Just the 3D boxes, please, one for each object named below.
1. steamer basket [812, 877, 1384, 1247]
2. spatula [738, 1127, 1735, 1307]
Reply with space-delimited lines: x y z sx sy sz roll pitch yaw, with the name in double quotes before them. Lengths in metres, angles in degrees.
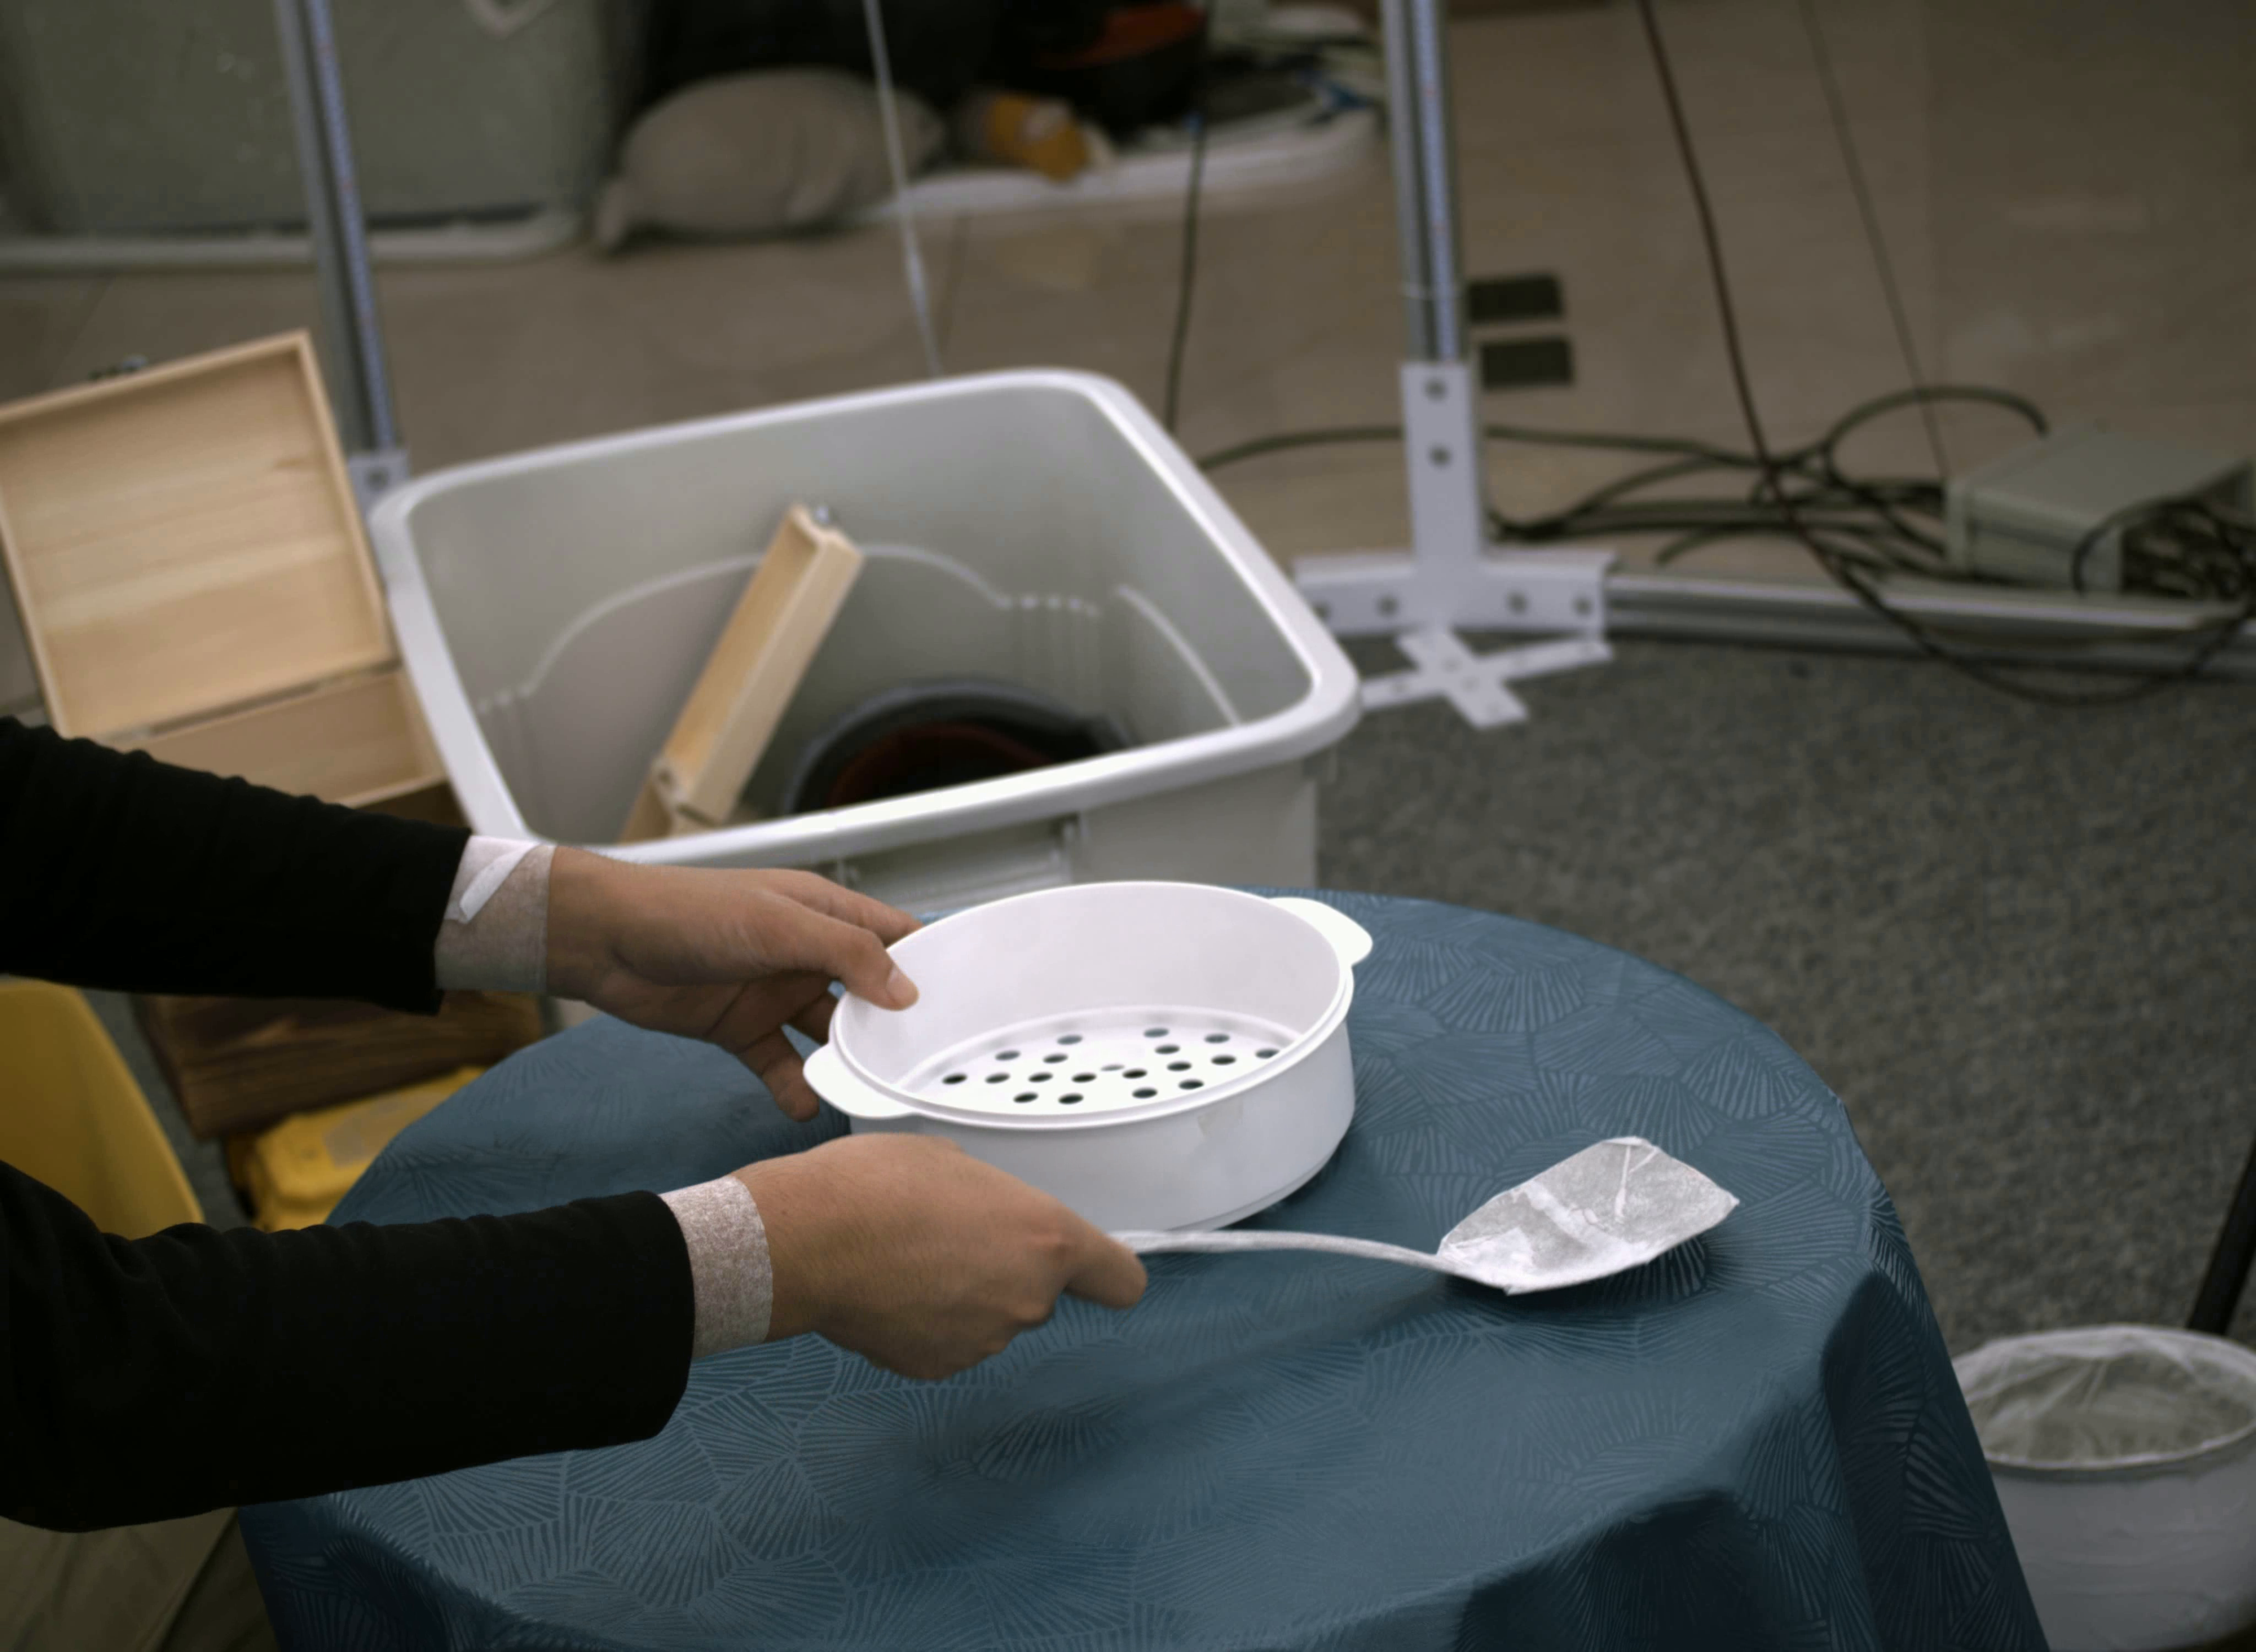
"steamer basket" -0.007 0.091 2.169 0.229 0.070 0.199 -18 27 -22
"spatula" 0.040 0.146 2.019 0.364 0.045 0.097 0 19 -21
